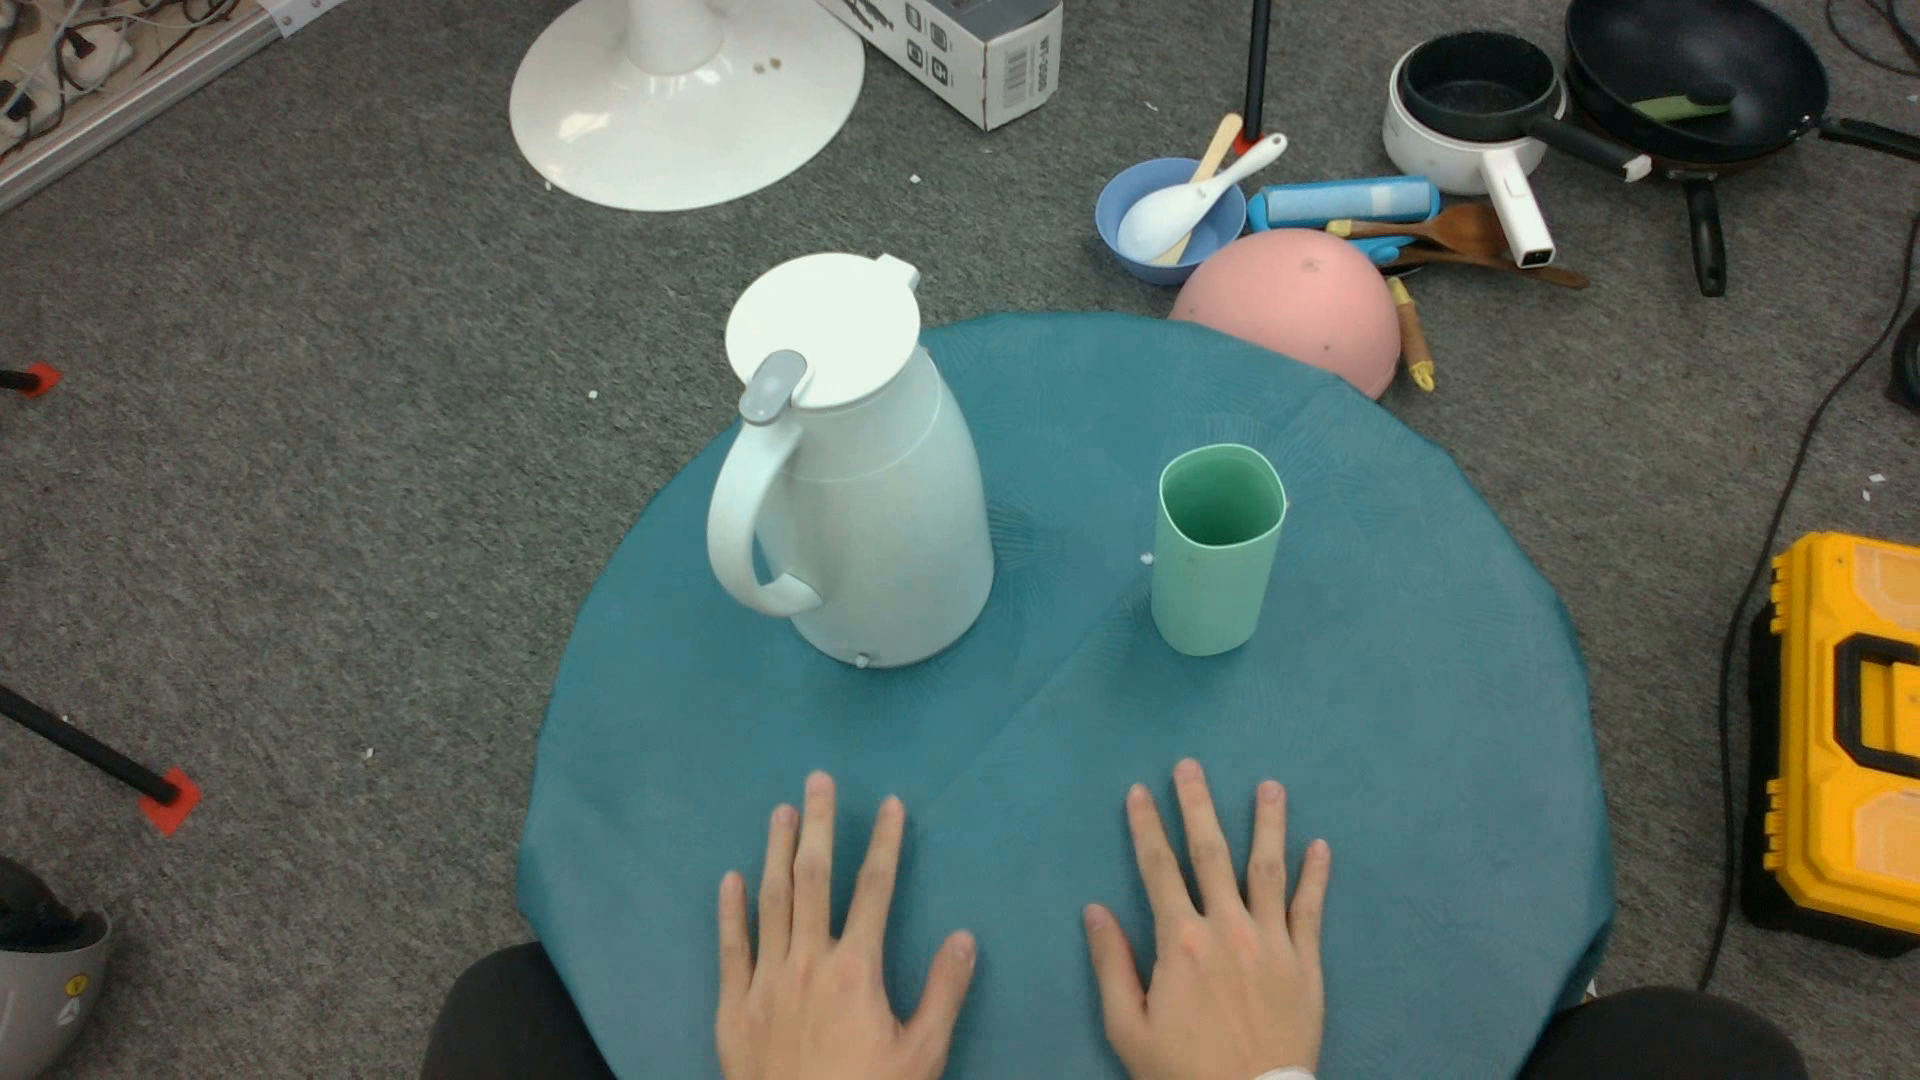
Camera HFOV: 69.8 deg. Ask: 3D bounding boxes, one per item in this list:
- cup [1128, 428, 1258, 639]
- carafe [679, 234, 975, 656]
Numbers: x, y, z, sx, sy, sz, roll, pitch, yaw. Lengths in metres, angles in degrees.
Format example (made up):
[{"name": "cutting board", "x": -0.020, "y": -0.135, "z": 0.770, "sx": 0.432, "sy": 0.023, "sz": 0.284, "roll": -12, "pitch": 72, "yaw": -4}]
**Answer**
[{"name": "cup", "x": 0.127, "y": 0.001, "z": 0.767, "sx": 0.067, "sy": 0.132, "sz": 0.067, "roll": -2, "pitch": 60, "yaw": 3}, {"name": "carafe", "x": -0.077, "y": -0.035, "z": 0.732, "sx": 0.132, "sy": 0.247, "sz": 0.168, "roll": 27, "pitch": 67, "yaw": 20}]
